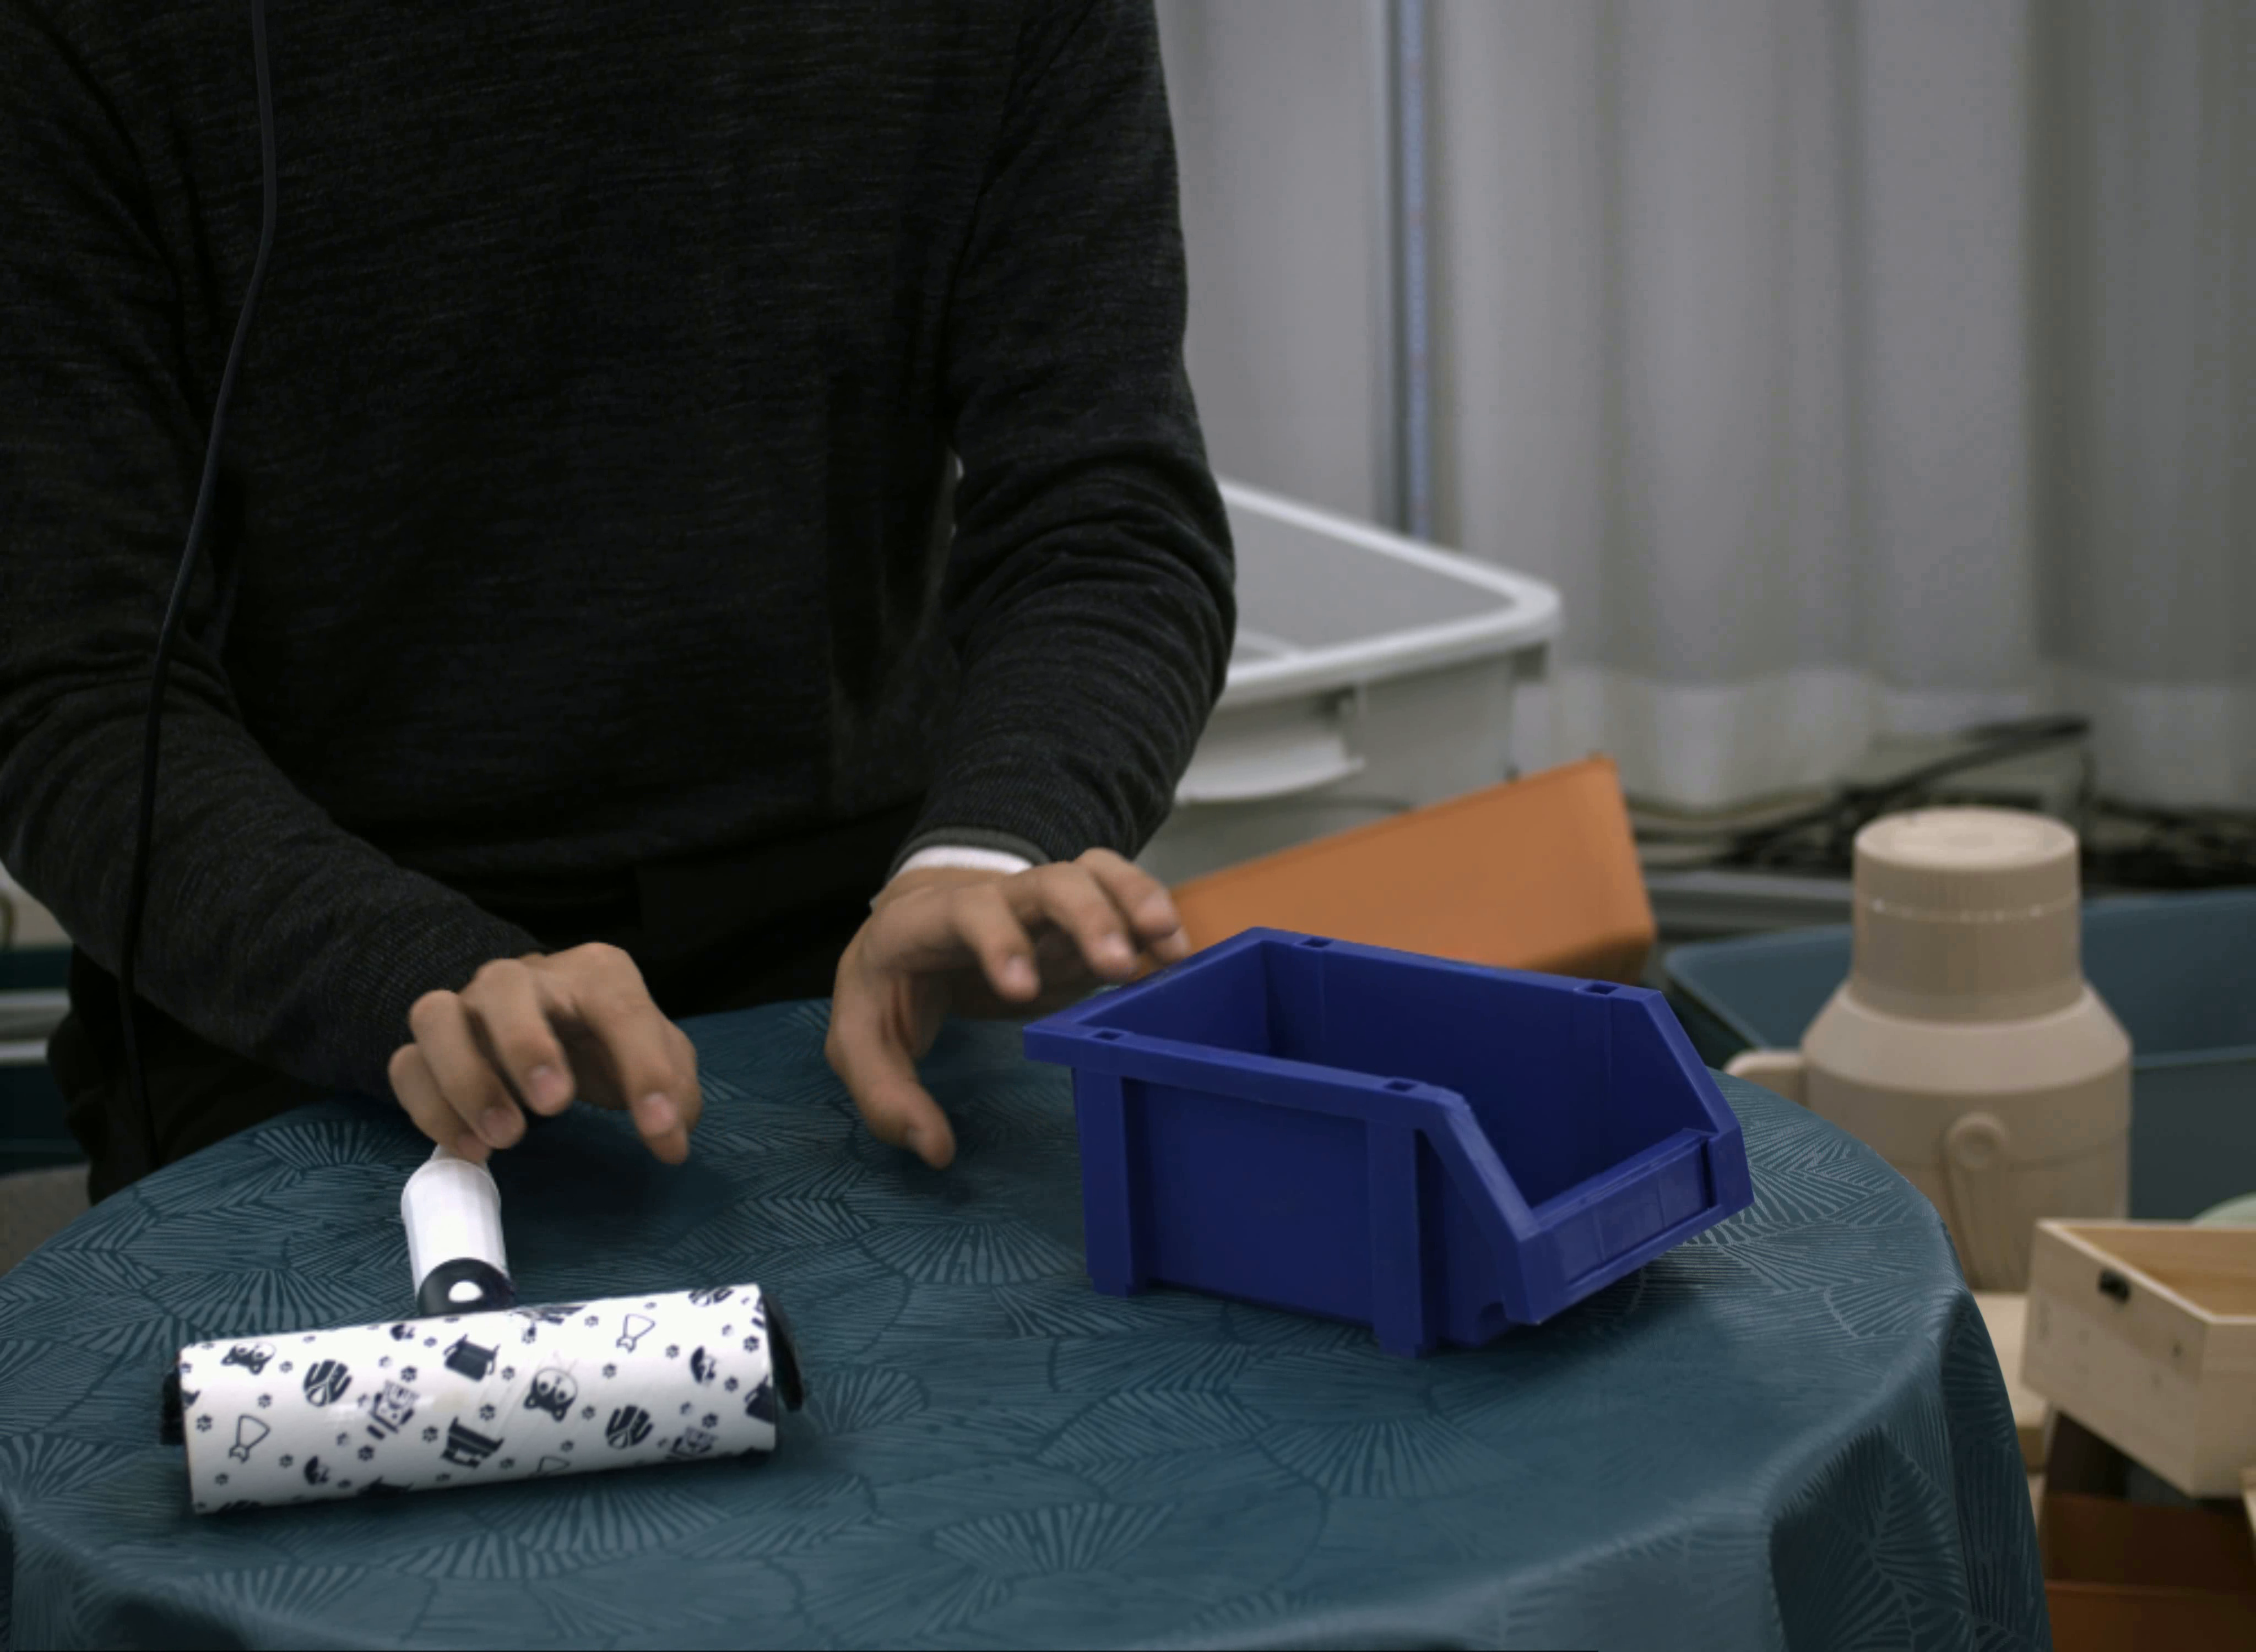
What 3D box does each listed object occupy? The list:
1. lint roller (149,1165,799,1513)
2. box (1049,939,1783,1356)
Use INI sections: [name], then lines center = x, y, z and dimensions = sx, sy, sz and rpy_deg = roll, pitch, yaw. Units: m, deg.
[lint roller]
center = -0.196, 0.134, 1.597
dimensions = 0.175, 0.050, 0.249
rpy_deg = -6, 14, -9
[box]
center = 0.087, 0.094, 1.616
dimensions = 0.180, 0.081, 0.124
rpy_deg = 6, 16, 38
